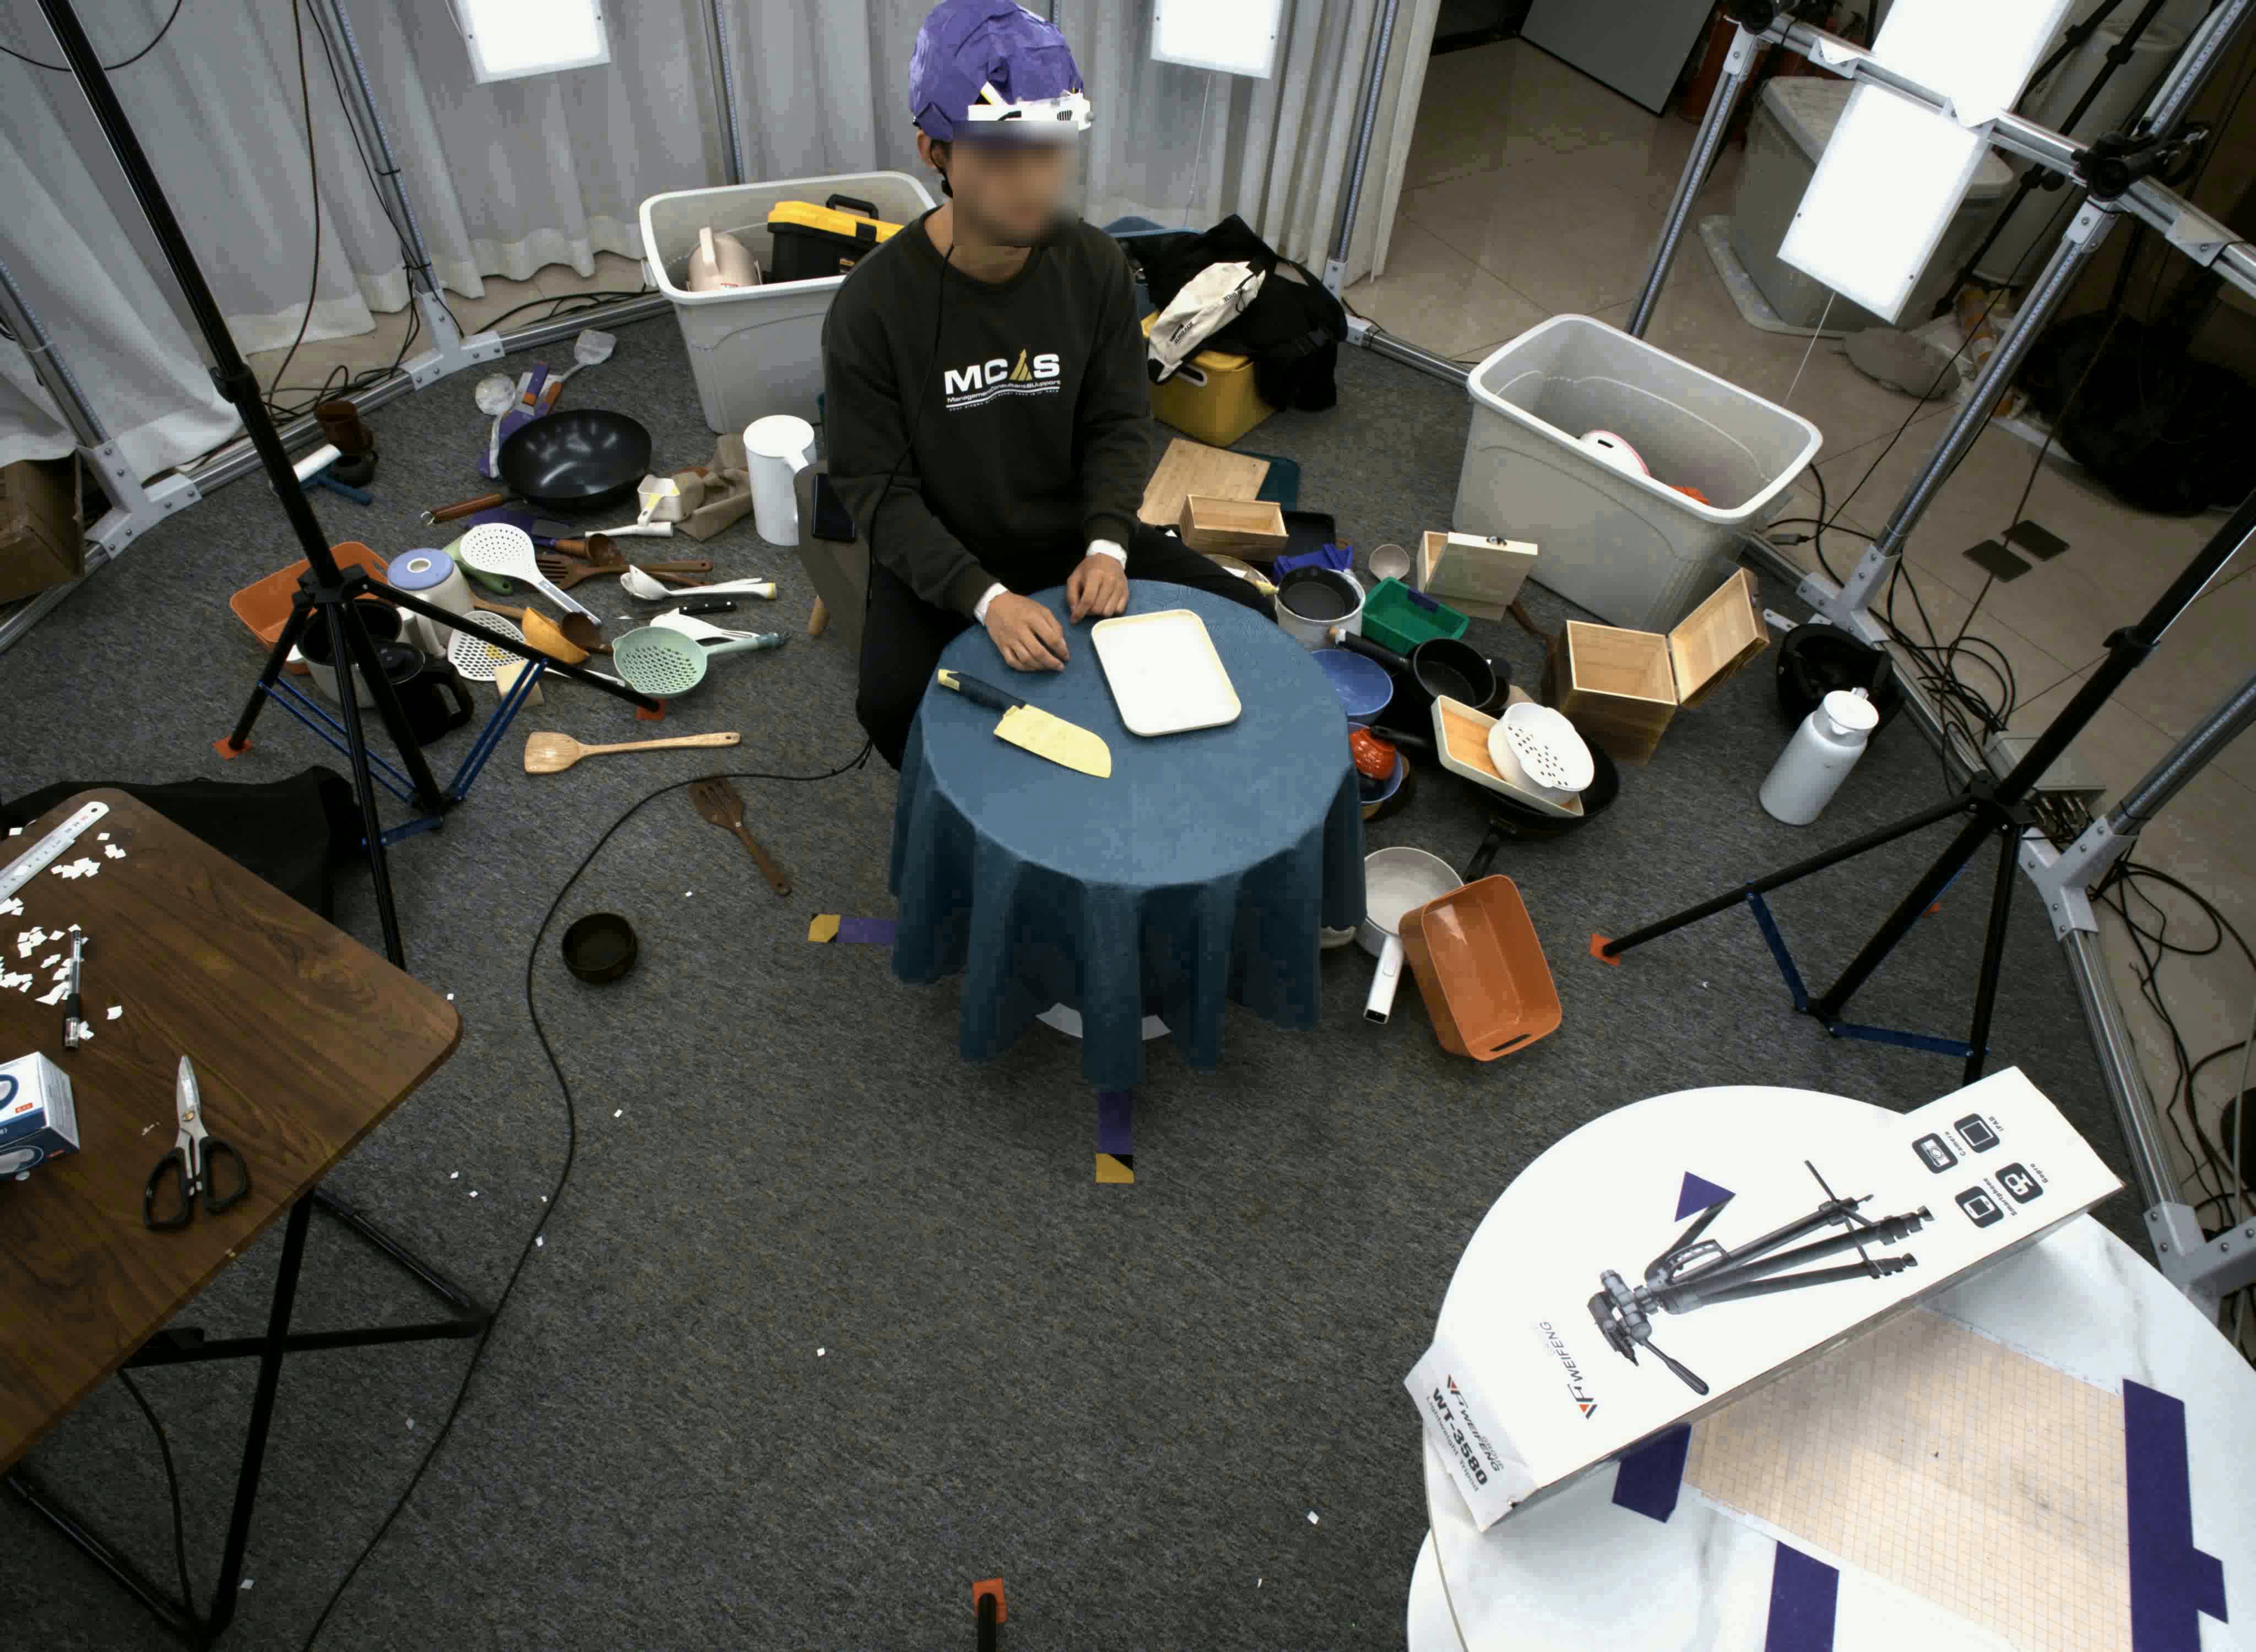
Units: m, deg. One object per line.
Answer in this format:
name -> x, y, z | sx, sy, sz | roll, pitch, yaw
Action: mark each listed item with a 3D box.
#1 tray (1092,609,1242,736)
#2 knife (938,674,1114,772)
tray -> 0.053, -0.223, 1.853 | 0.171, 0.017, 0.245 | -10, 50, -12
knife -> -0.146, -0.142, 1.771 | 0.292, 0.026, 0.082 | 26, 51, 16
